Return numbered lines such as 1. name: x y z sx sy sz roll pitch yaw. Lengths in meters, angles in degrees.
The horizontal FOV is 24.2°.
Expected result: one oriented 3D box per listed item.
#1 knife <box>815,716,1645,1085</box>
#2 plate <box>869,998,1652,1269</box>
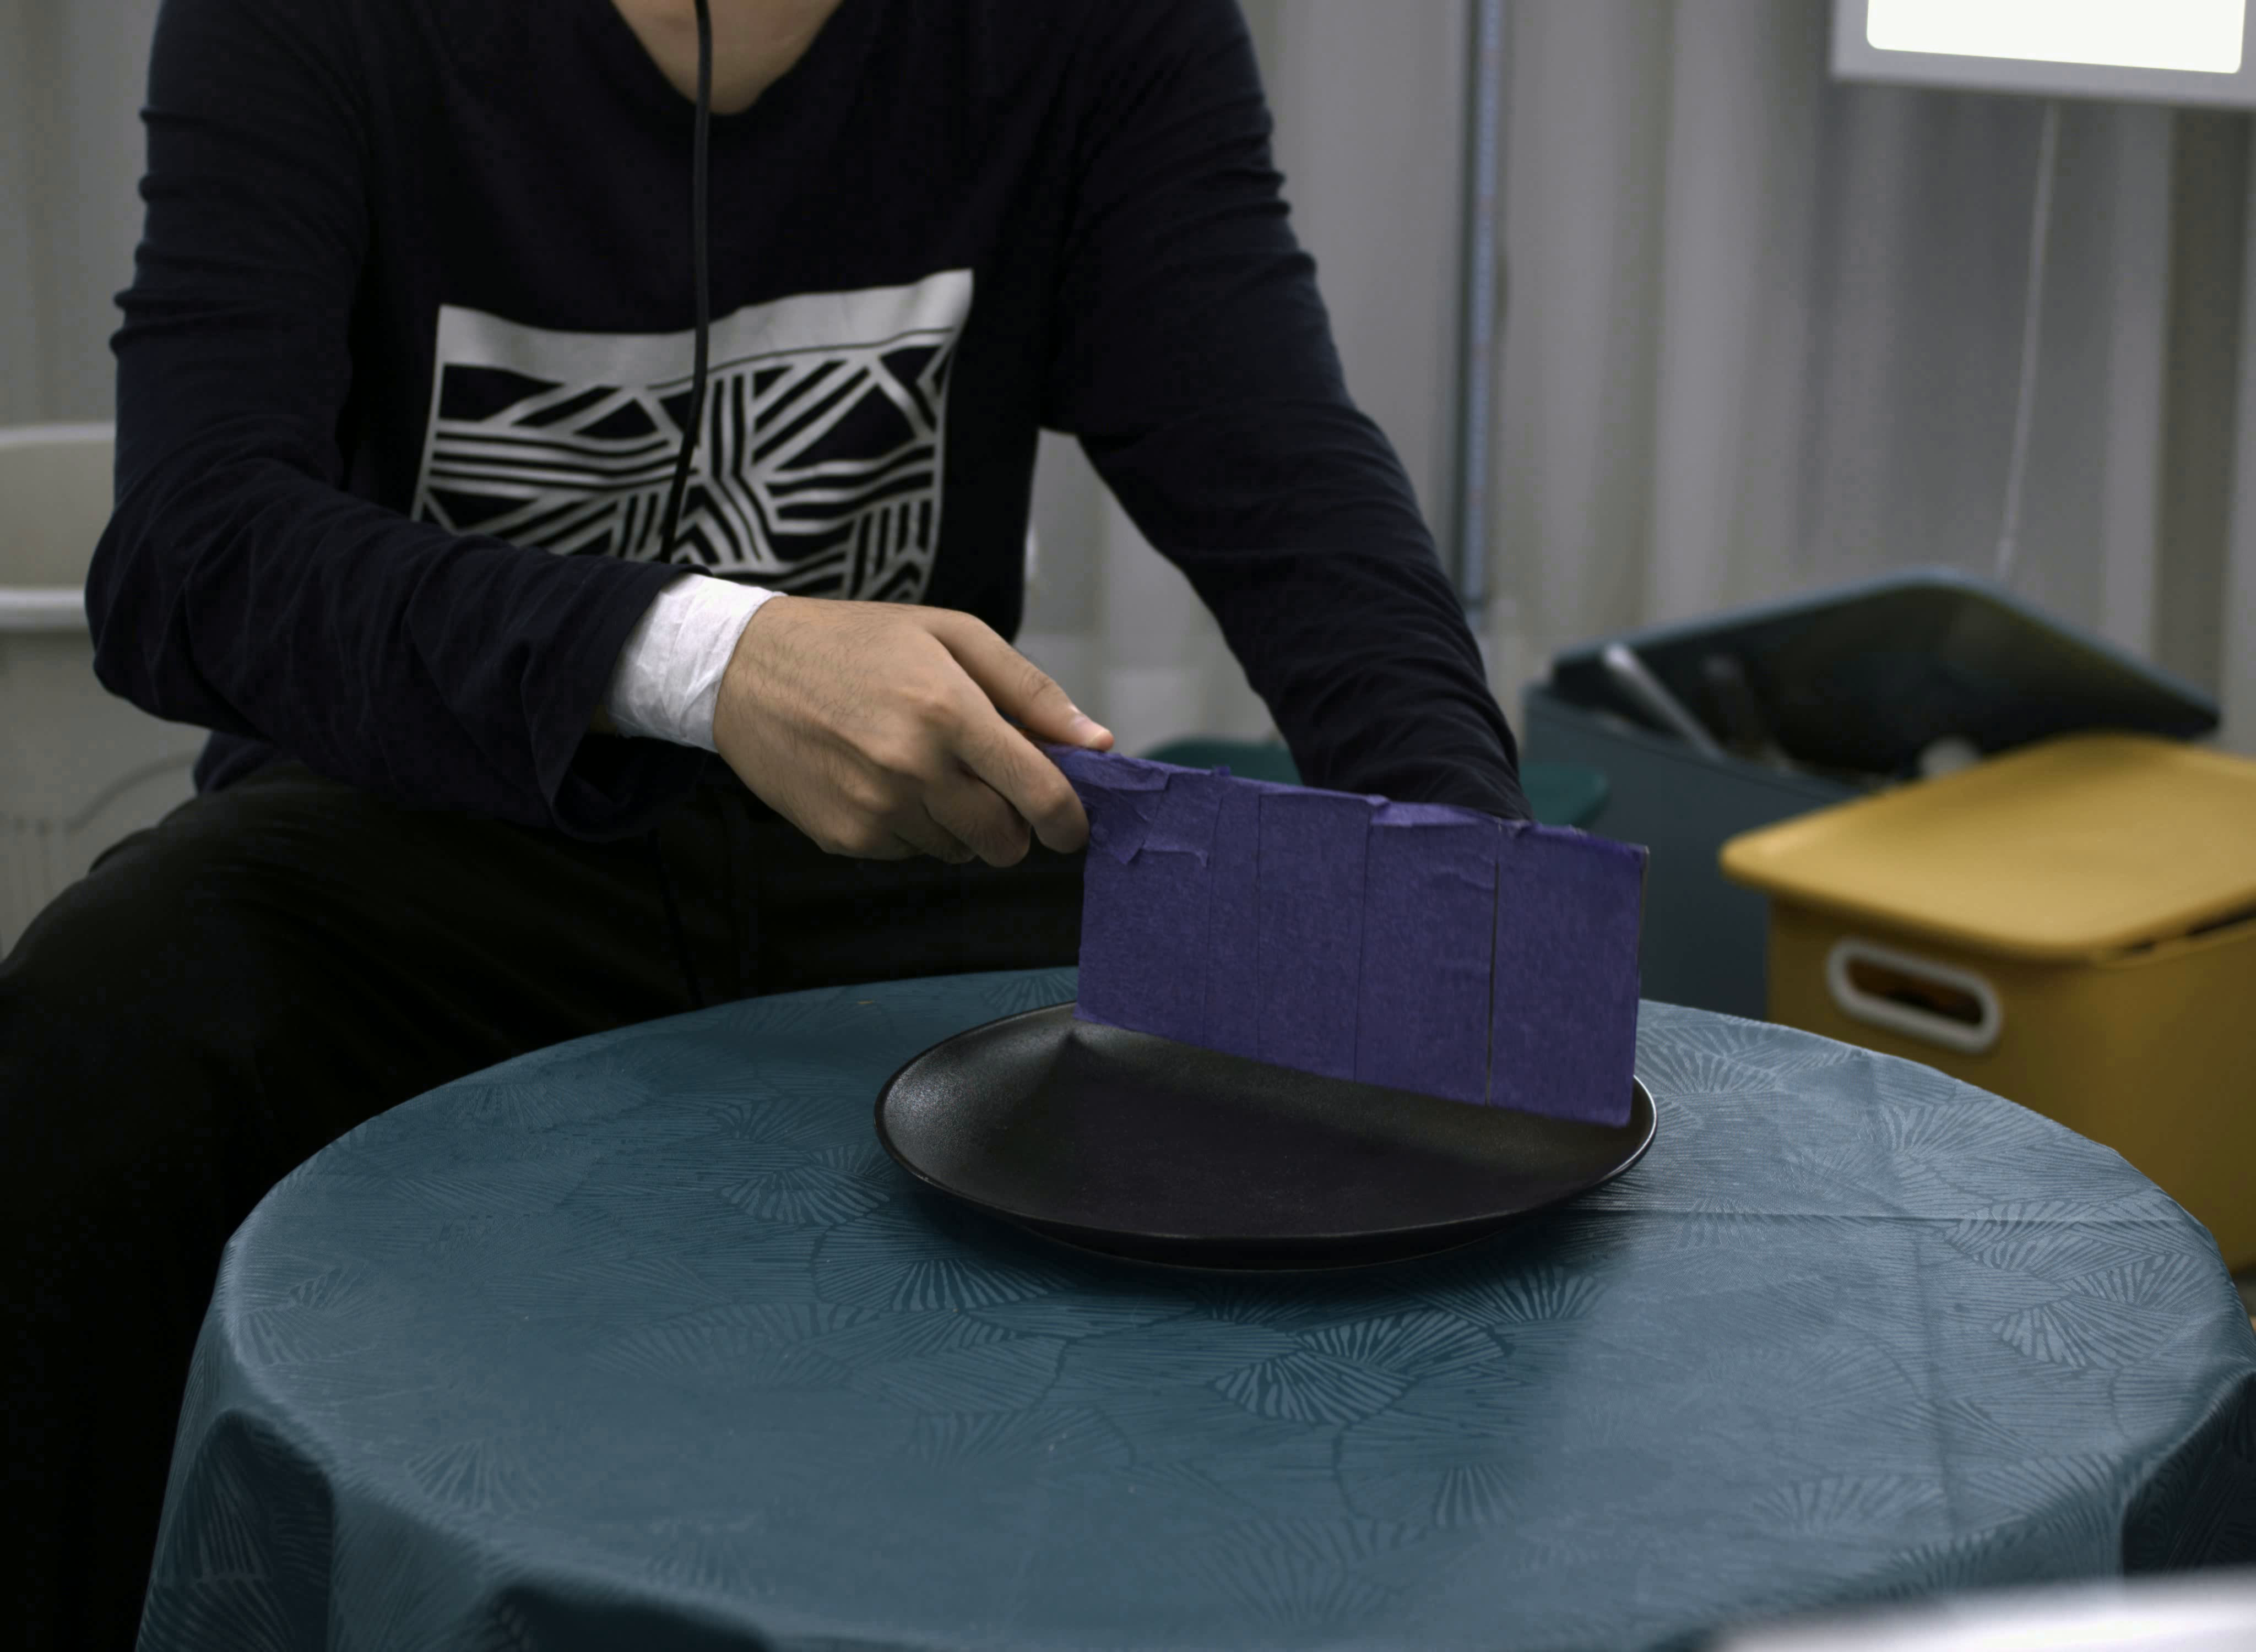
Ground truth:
1. knife: 0.026 0.024 1.683 0.311 0.104 0.032 9 9 35
2. plate: 0.041 0.096 1.638 0.243 0.023 0.243 0 16 0
